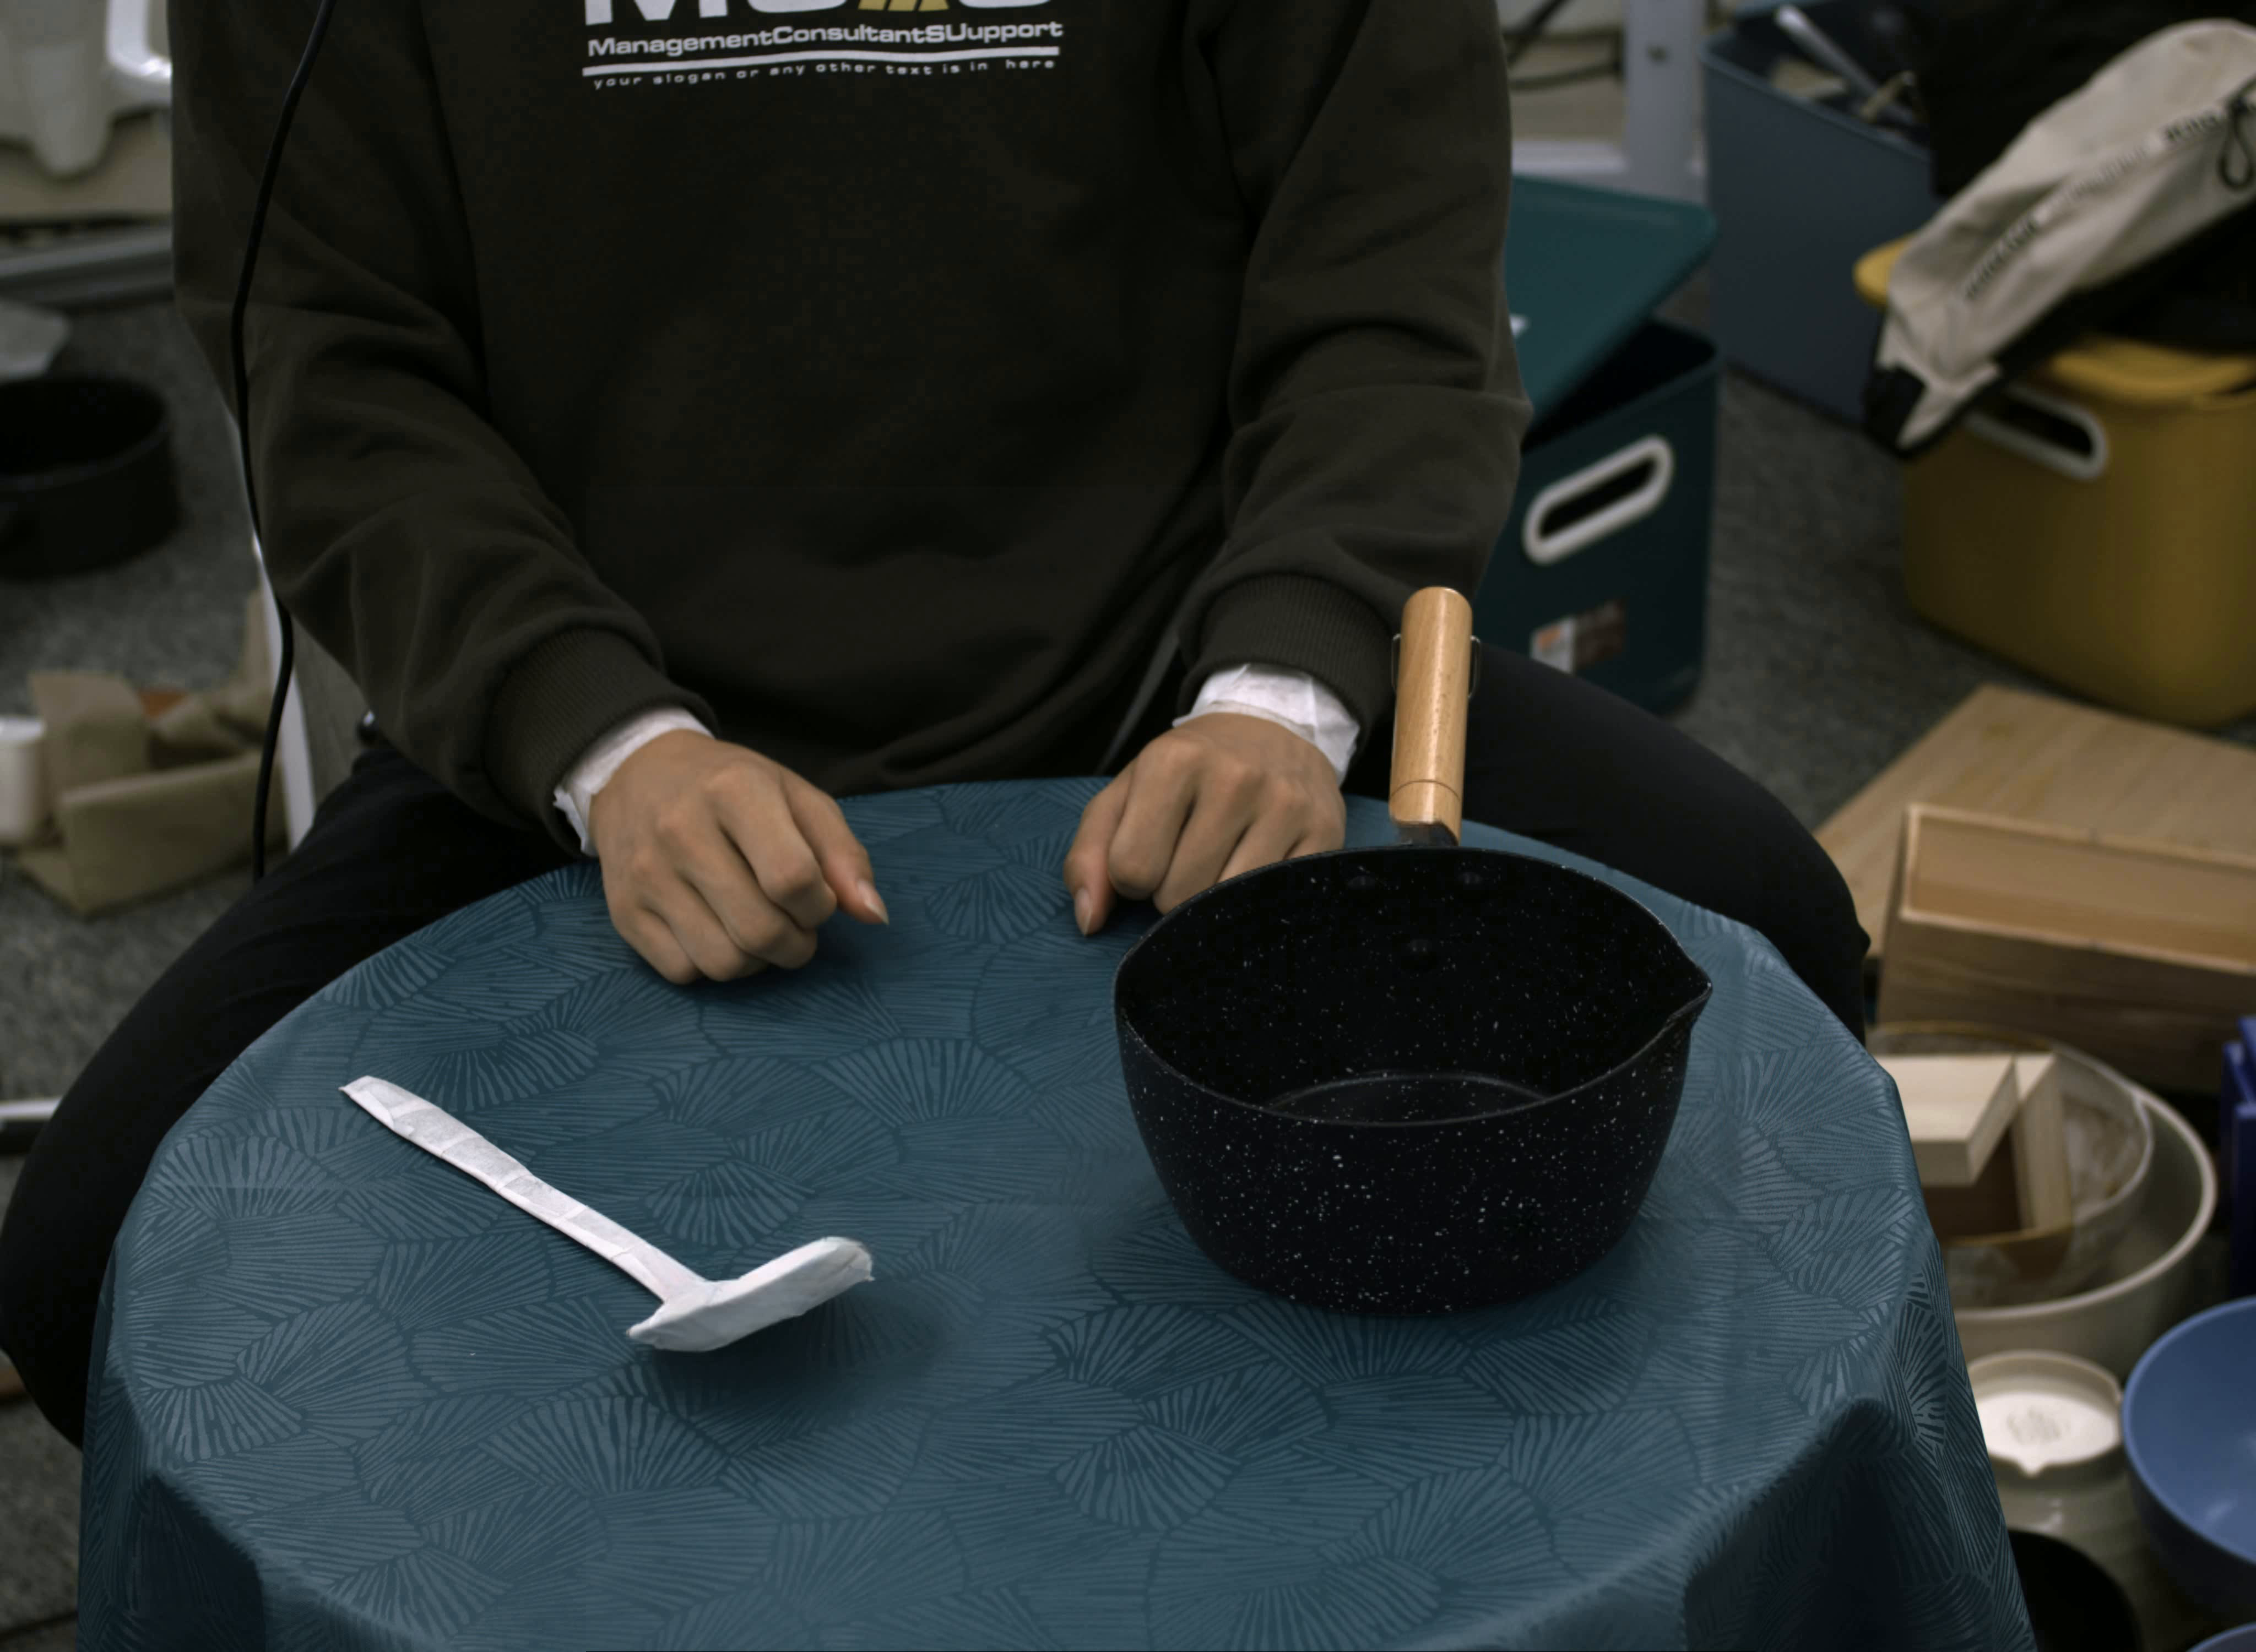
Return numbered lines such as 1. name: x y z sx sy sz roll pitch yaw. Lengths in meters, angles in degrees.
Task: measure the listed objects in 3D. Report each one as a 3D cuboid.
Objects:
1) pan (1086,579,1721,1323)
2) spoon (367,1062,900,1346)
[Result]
1. pan: 0.096 0.039 1.898 0.206 0.107 0.348 -1 28 6
2. spoon: -0.173 0.107 1.845 0.101 0.059 0.277 -17 30 -34
